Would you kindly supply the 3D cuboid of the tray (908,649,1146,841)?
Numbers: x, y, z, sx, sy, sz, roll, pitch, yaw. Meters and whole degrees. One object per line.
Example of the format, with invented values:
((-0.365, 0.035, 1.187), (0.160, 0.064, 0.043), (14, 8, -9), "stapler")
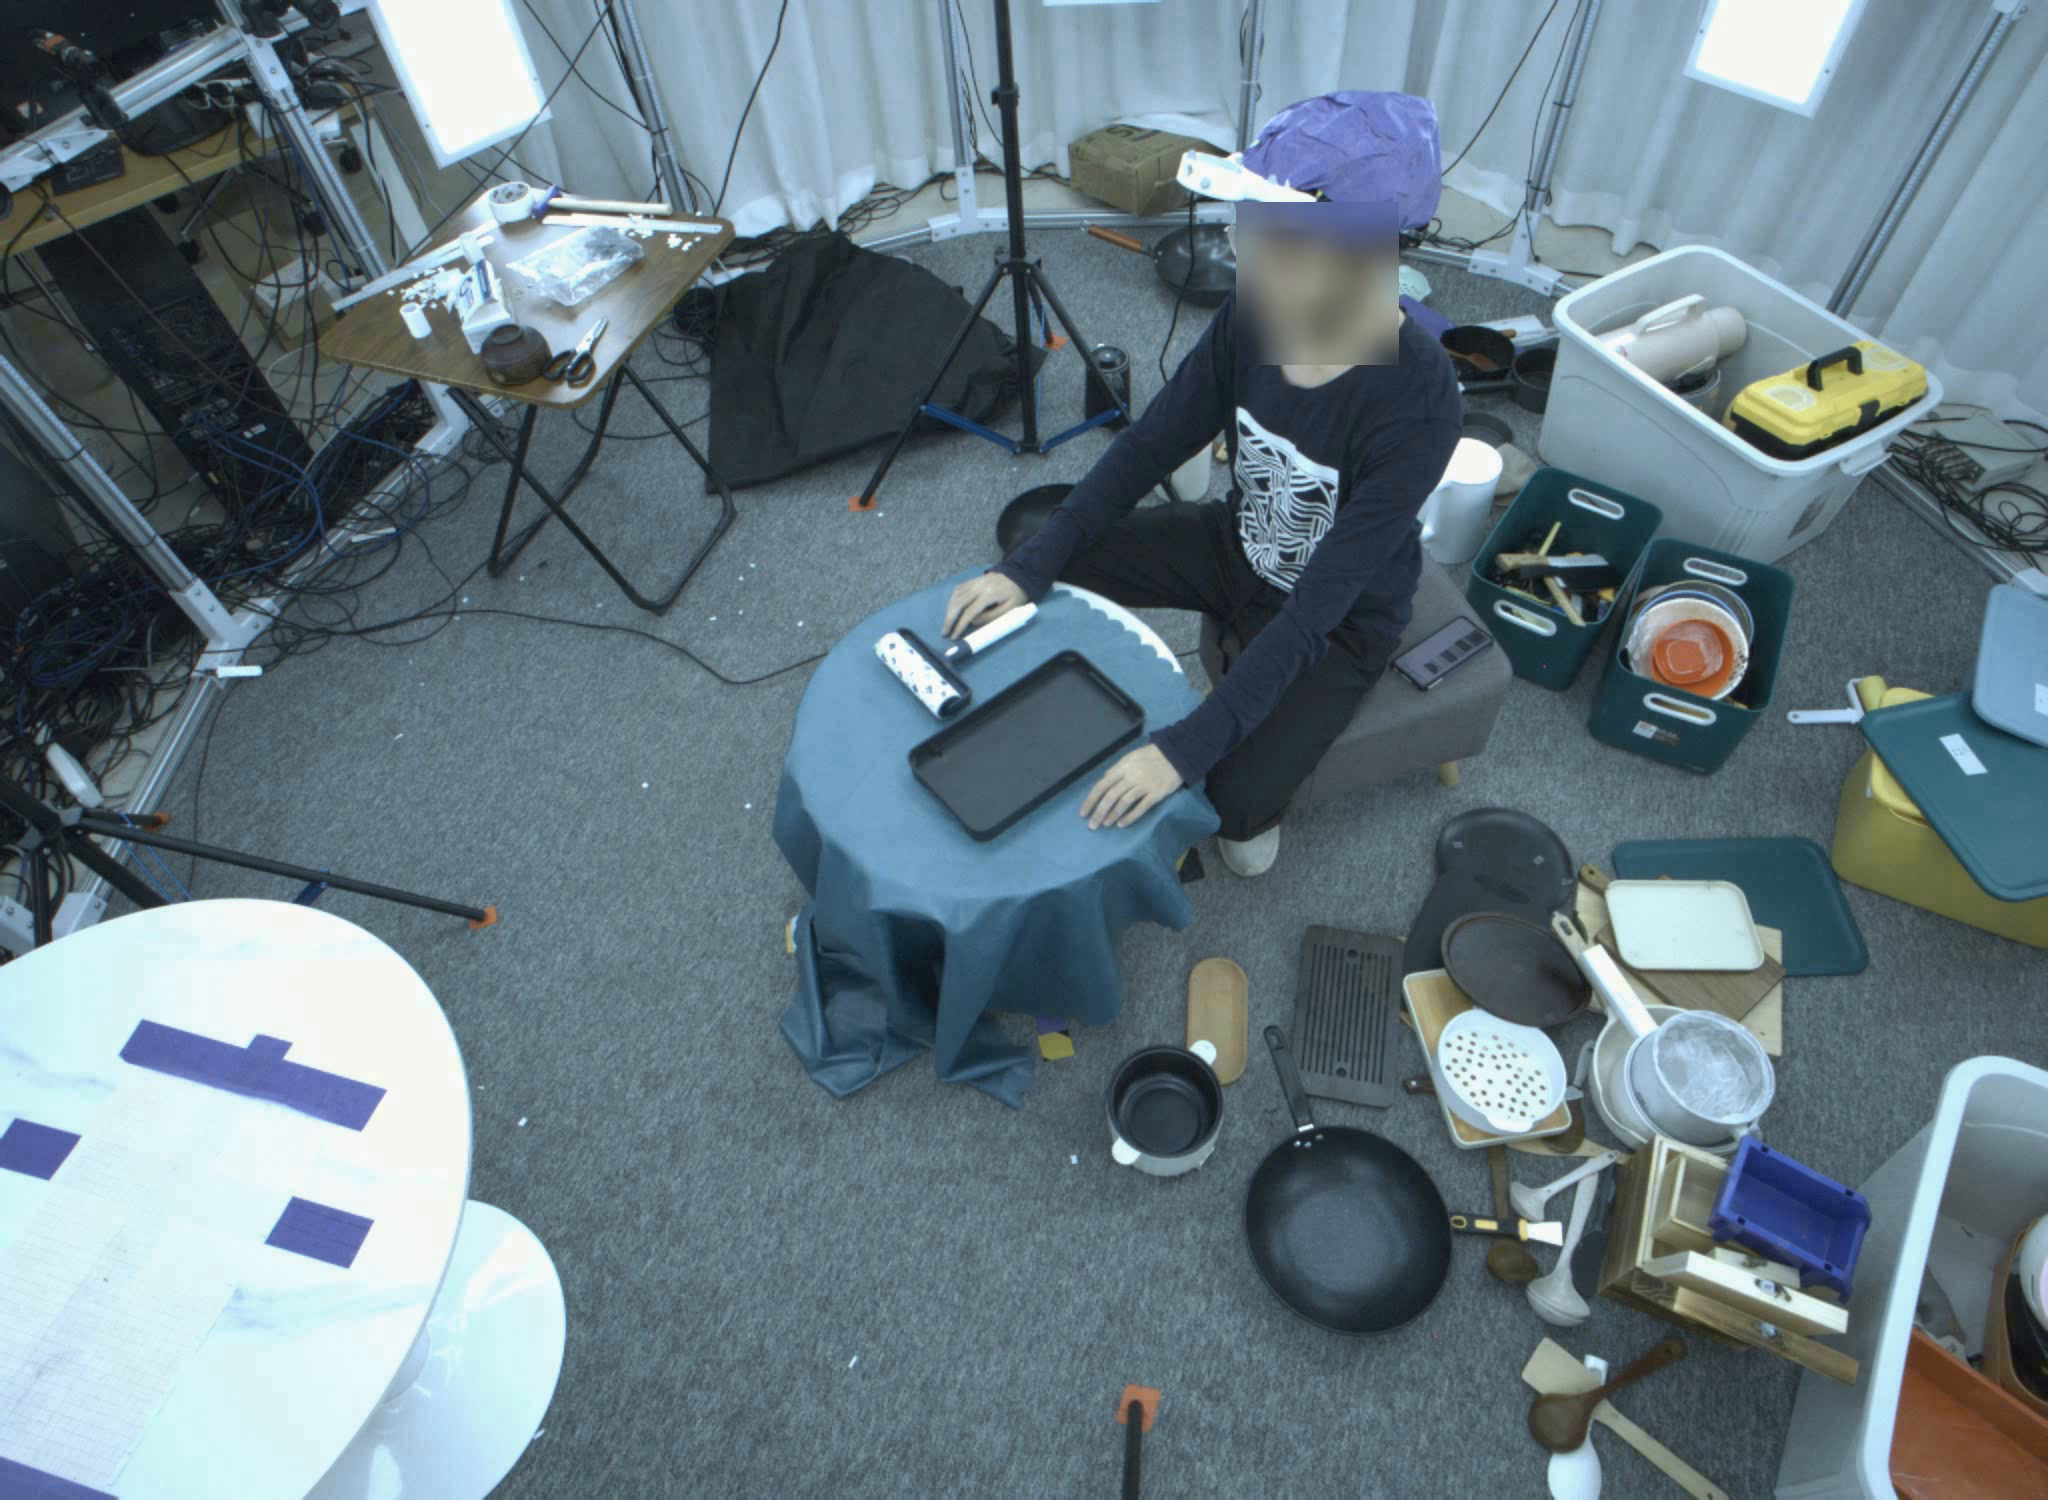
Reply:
((0.006, -0.012, 1.781), (0.320, 0.037, 0.181), (-34, 61, -21), "tray")

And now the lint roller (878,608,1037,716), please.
((-0.081, -0.165, 1.891), (0.249, 0.051, 0.173), (-33, 59, -24), "lint roller")
